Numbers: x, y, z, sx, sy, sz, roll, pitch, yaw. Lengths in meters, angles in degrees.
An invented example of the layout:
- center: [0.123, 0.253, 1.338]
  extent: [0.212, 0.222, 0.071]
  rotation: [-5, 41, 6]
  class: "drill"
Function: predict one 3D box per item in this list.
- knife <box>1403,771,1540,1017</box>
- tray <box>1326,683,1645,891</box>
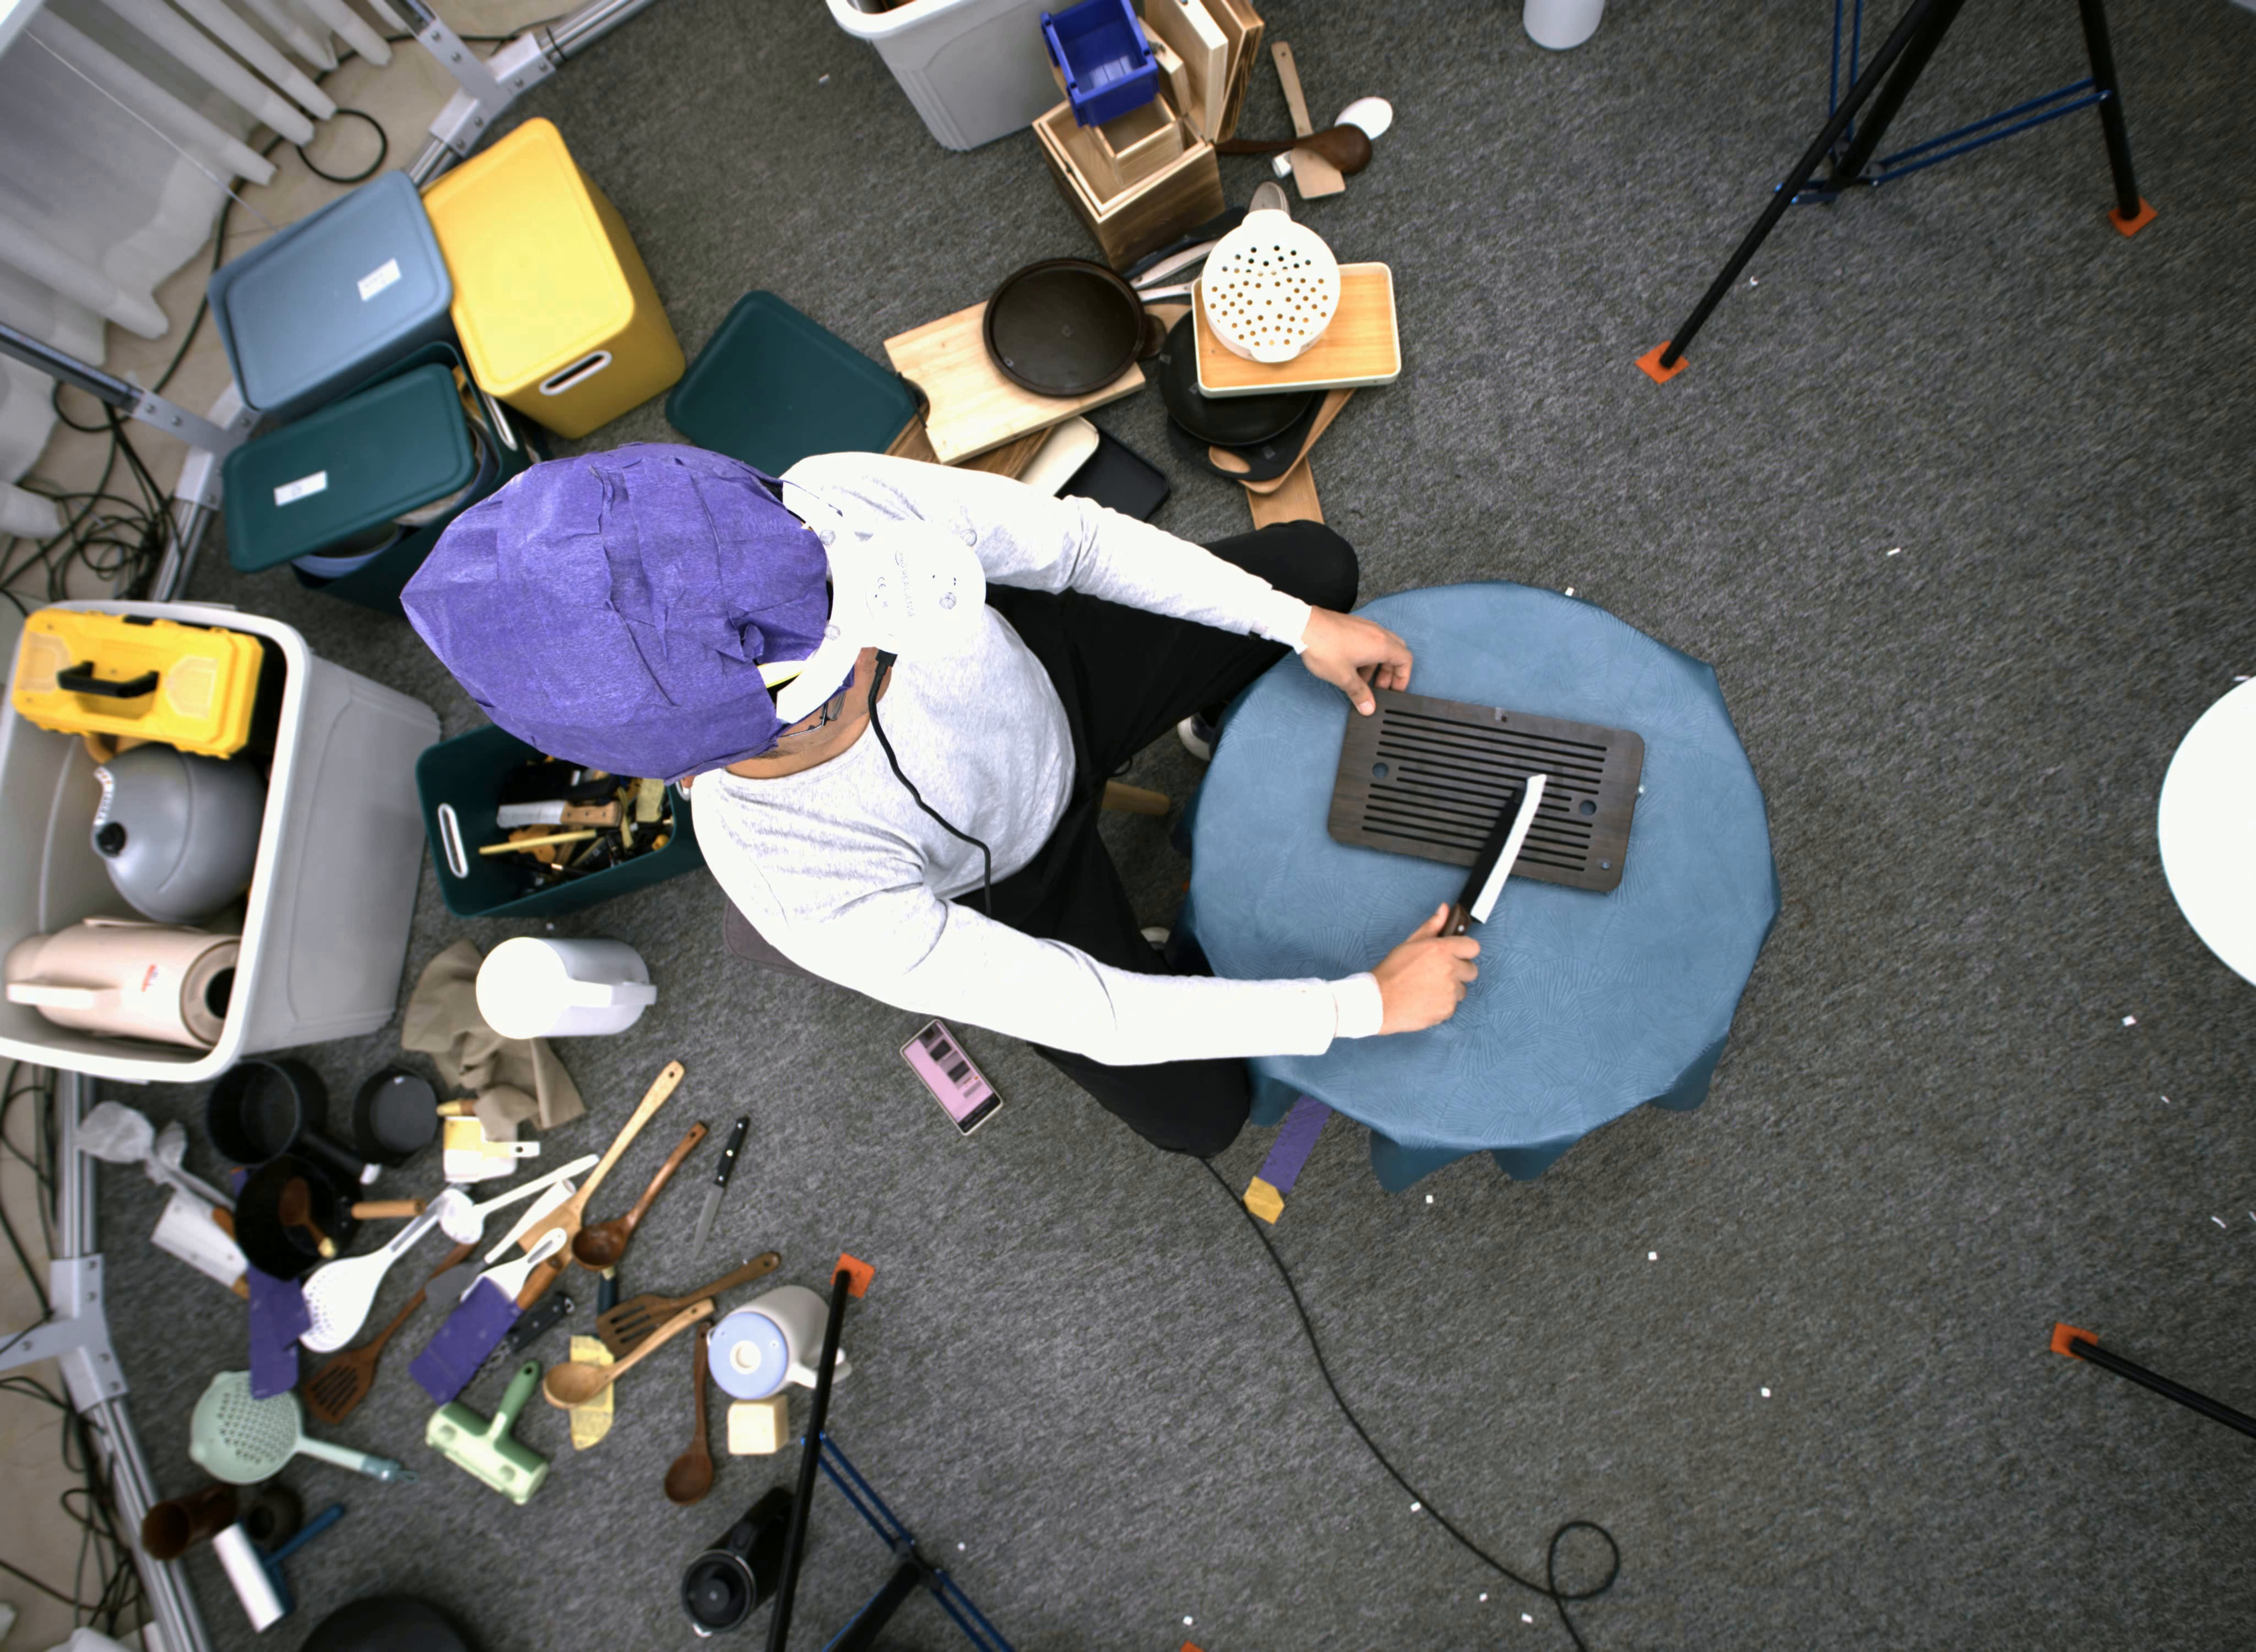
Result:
- center: [0.355, 0.067, 1.410]
  extent: [0.050, 0.020, 0.288]
  rotation: [29, 88, -29]
  class: "knife"
- center: [0.372, -0.045, 1.438]
  extent: [0.306, 0.018, 0.170]
  rotation: [11, 89, 12]
  class: "tray"
